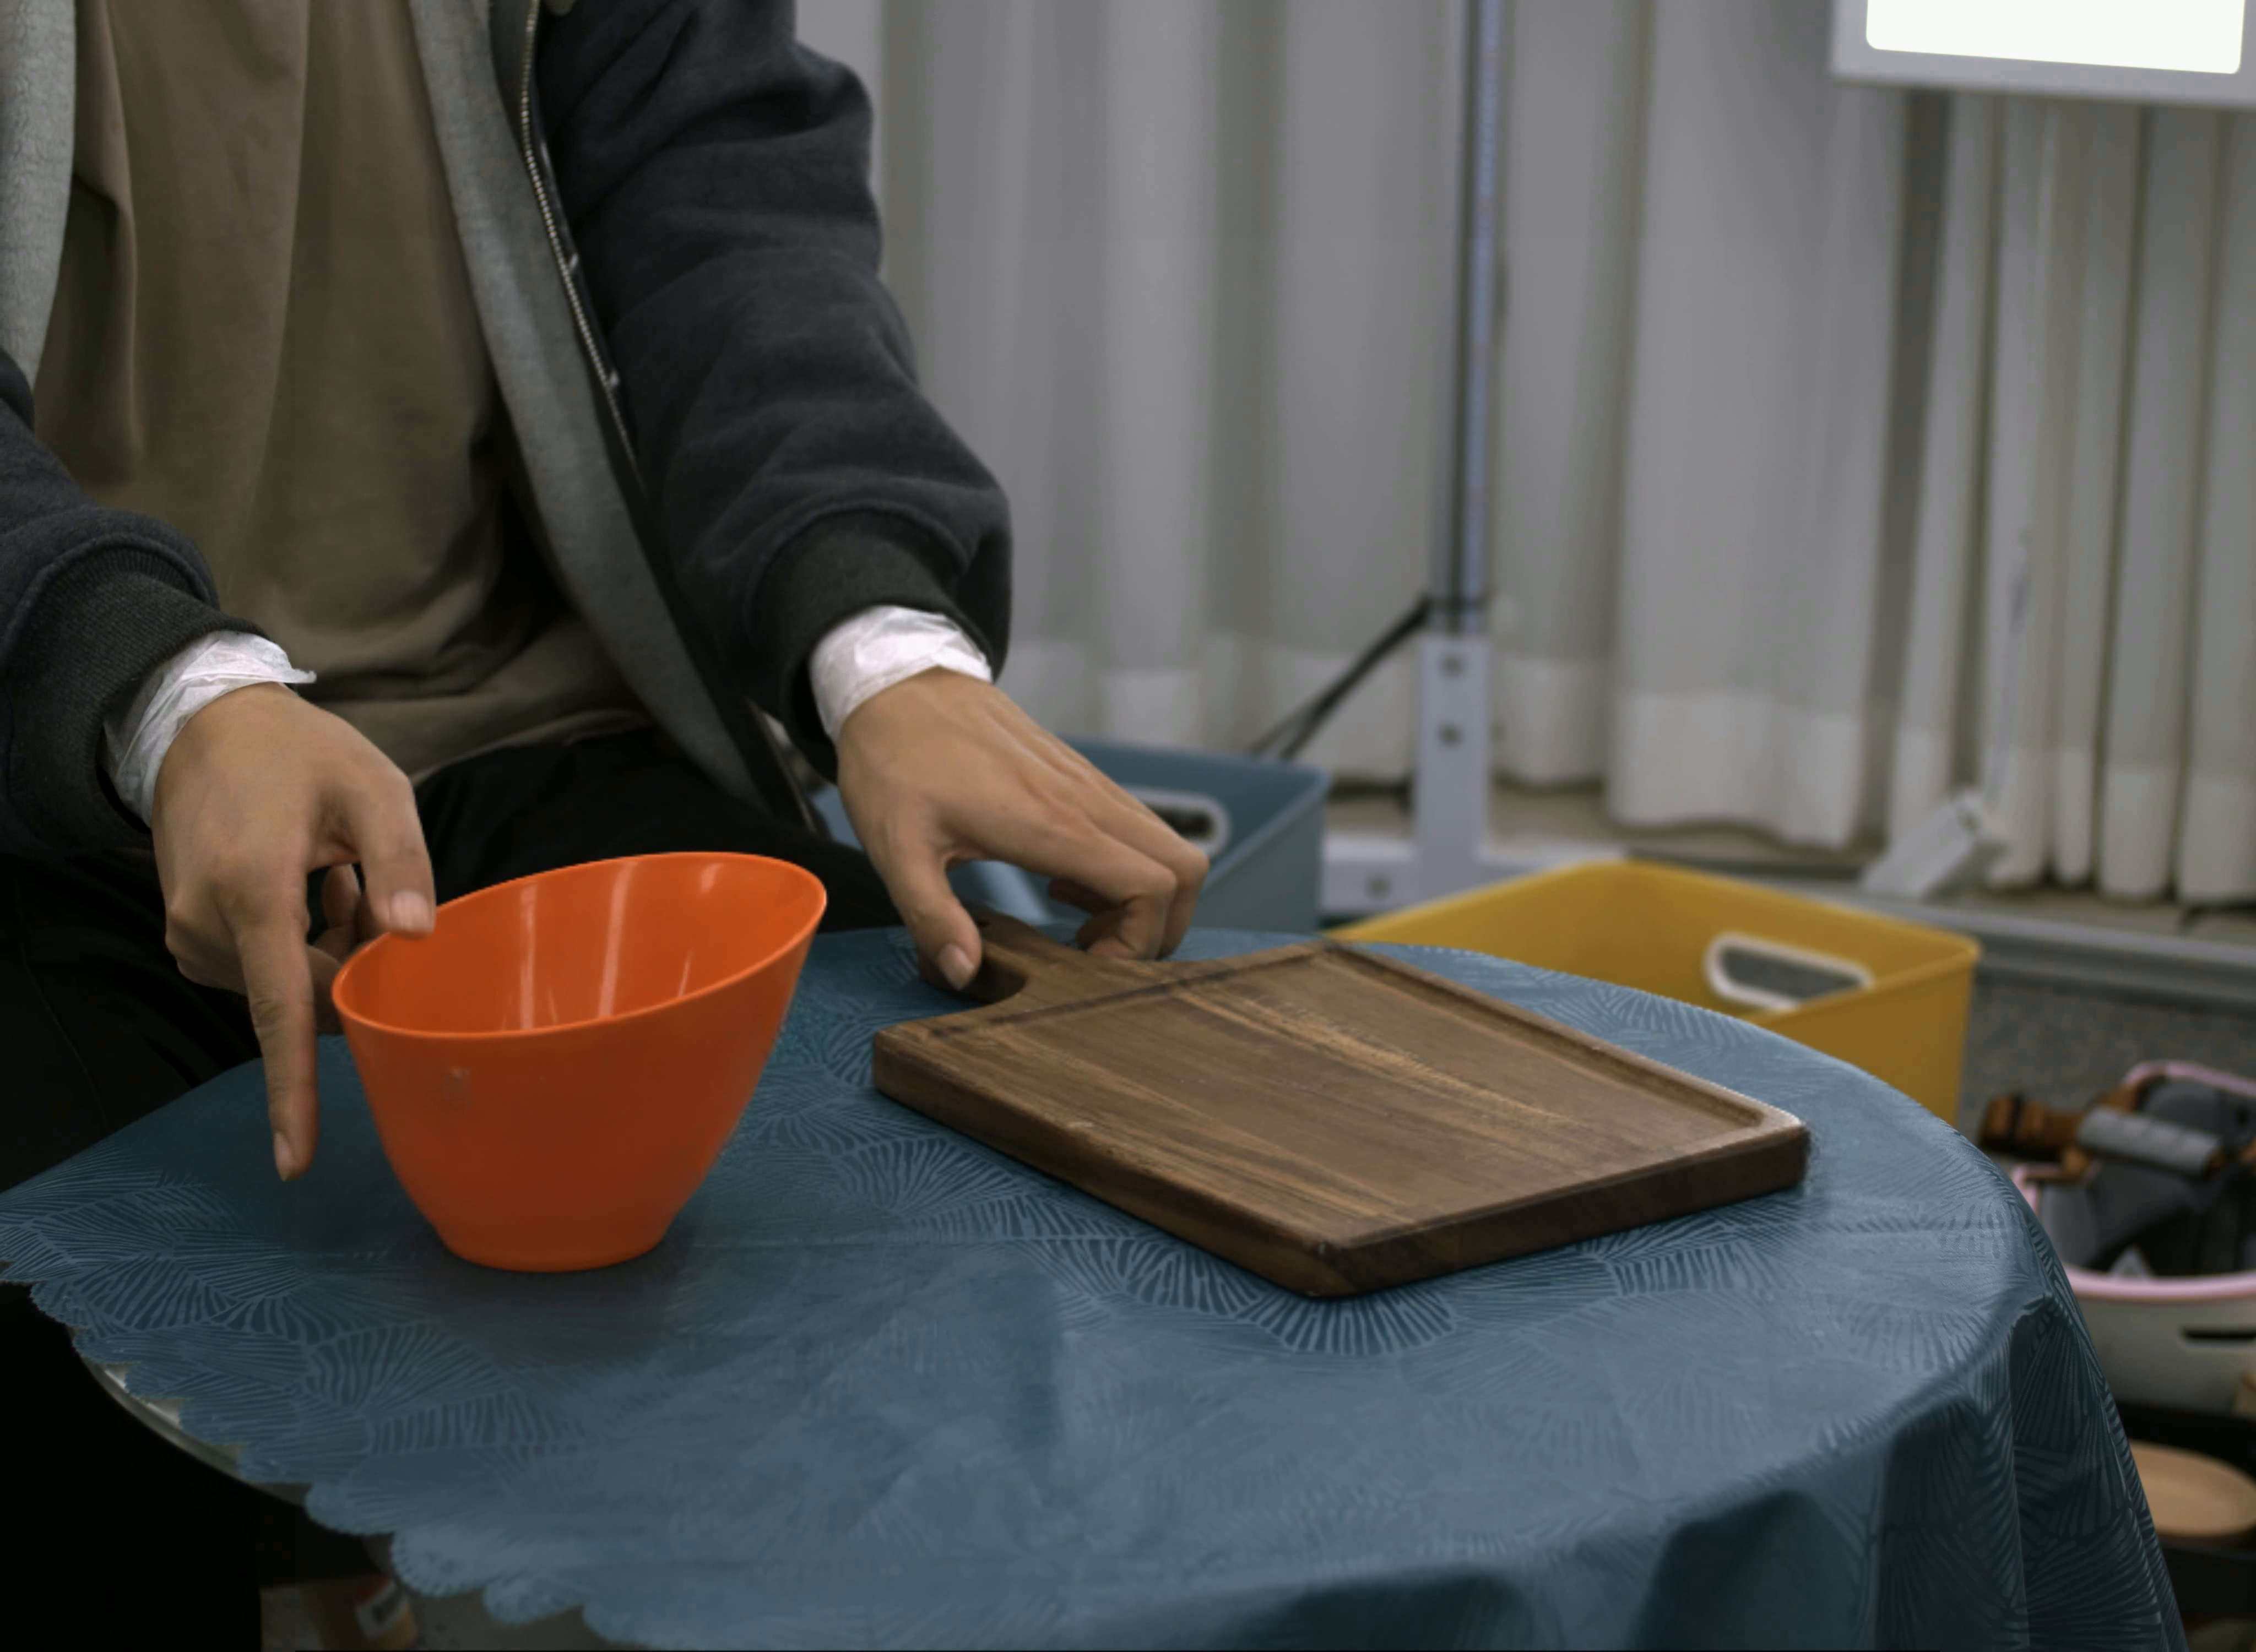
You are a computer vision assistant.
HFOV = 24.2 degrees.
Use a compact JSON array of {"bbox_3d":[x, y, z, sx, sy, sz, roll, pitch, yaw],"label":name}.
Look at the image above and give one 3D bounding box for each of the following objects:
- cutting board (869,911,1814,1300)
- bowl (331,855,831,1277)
[{"bbox_3d":[0.036,0.077,1.712,0.202,0.023,0.347,-10,19,-34],"label":"cutting board"},{"bbox_3d":[-0.162,0.073,1.566,0.147,0.105,0.147,1,17,0],"label":"bowl"}]
